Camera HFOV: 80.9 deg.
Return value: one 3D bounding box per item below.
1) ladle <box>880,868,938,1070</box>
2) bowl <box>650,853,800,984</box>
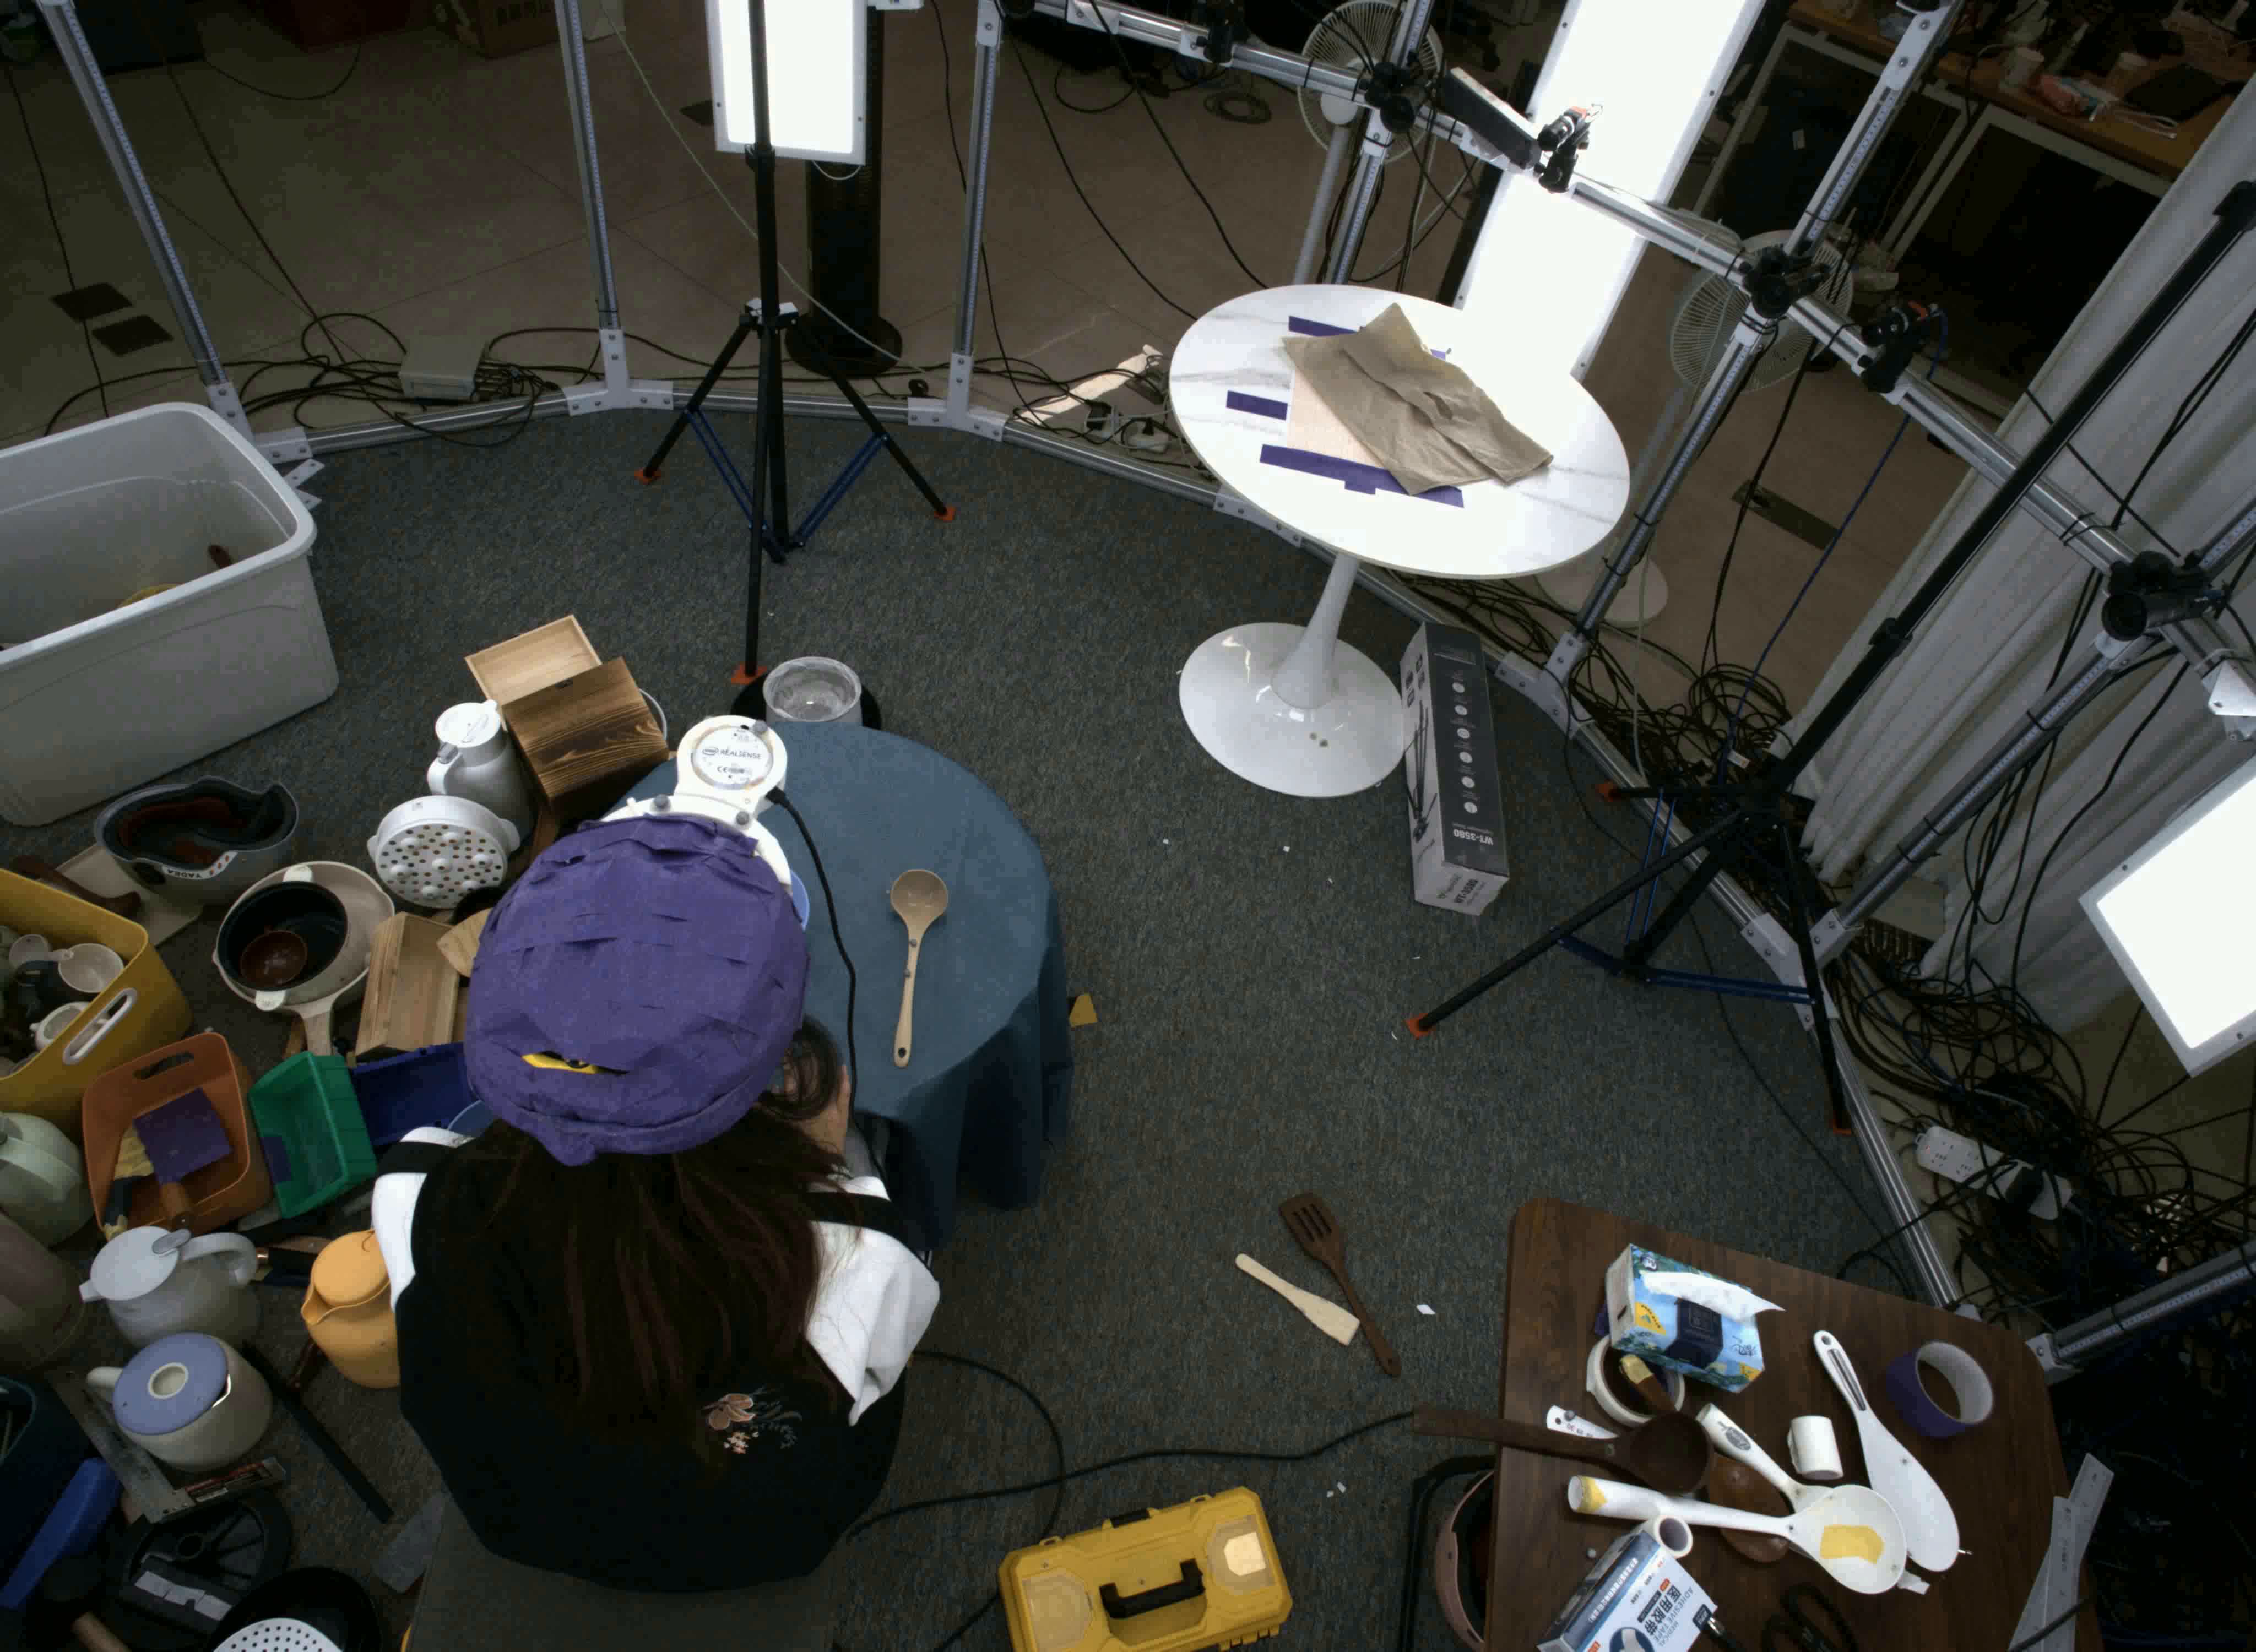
[{"bbox_3d":[-0.272,0.164,1.589,0.072,0.074,0.249,3,53,-9],"label":"ladle"},{"bbox_3d":[-0.485,0.121,1.567,0.175,0.072,0.173,7,52,-8],"label":"bowl"}]
